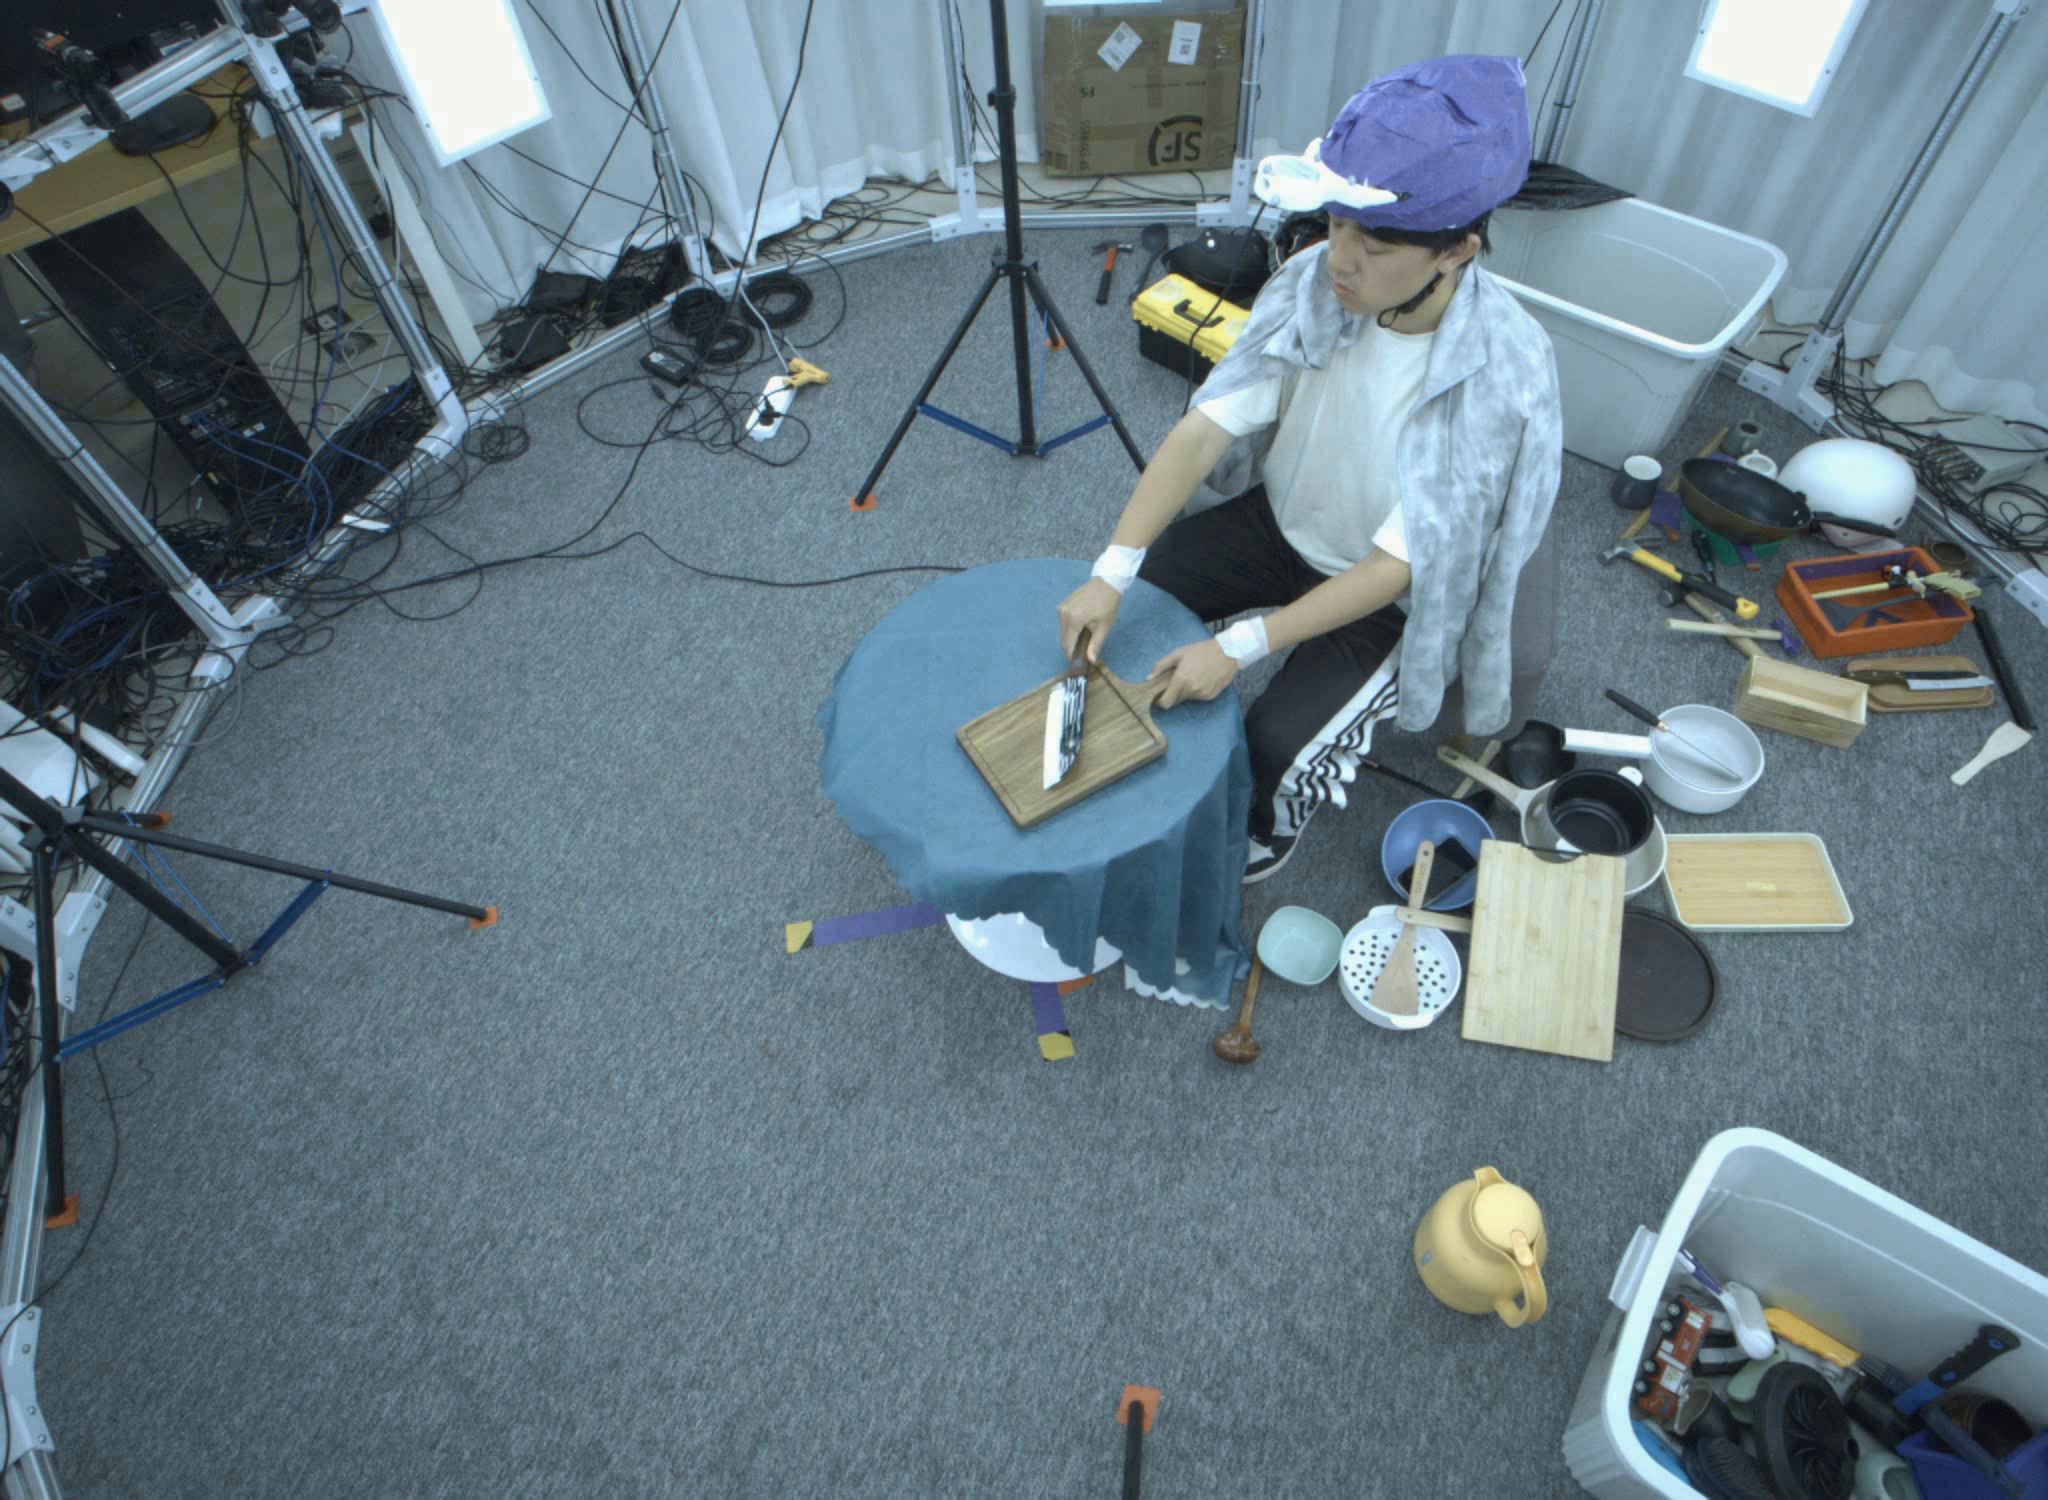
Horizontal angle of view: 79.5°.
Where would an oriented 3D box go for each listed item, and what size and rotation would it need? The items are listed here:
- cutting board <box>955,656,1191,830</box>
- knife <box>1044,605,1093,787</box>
[{"bbox_3d":[0.095,-0.038,1.790,0.354,0.023,0.197,-28,59,-14],"label":"cutting board"},{"bbox_3d":[0.063,-0.082,1.787,0.067,0.024,0.297,-16,53,36],"label":"knife"}]
